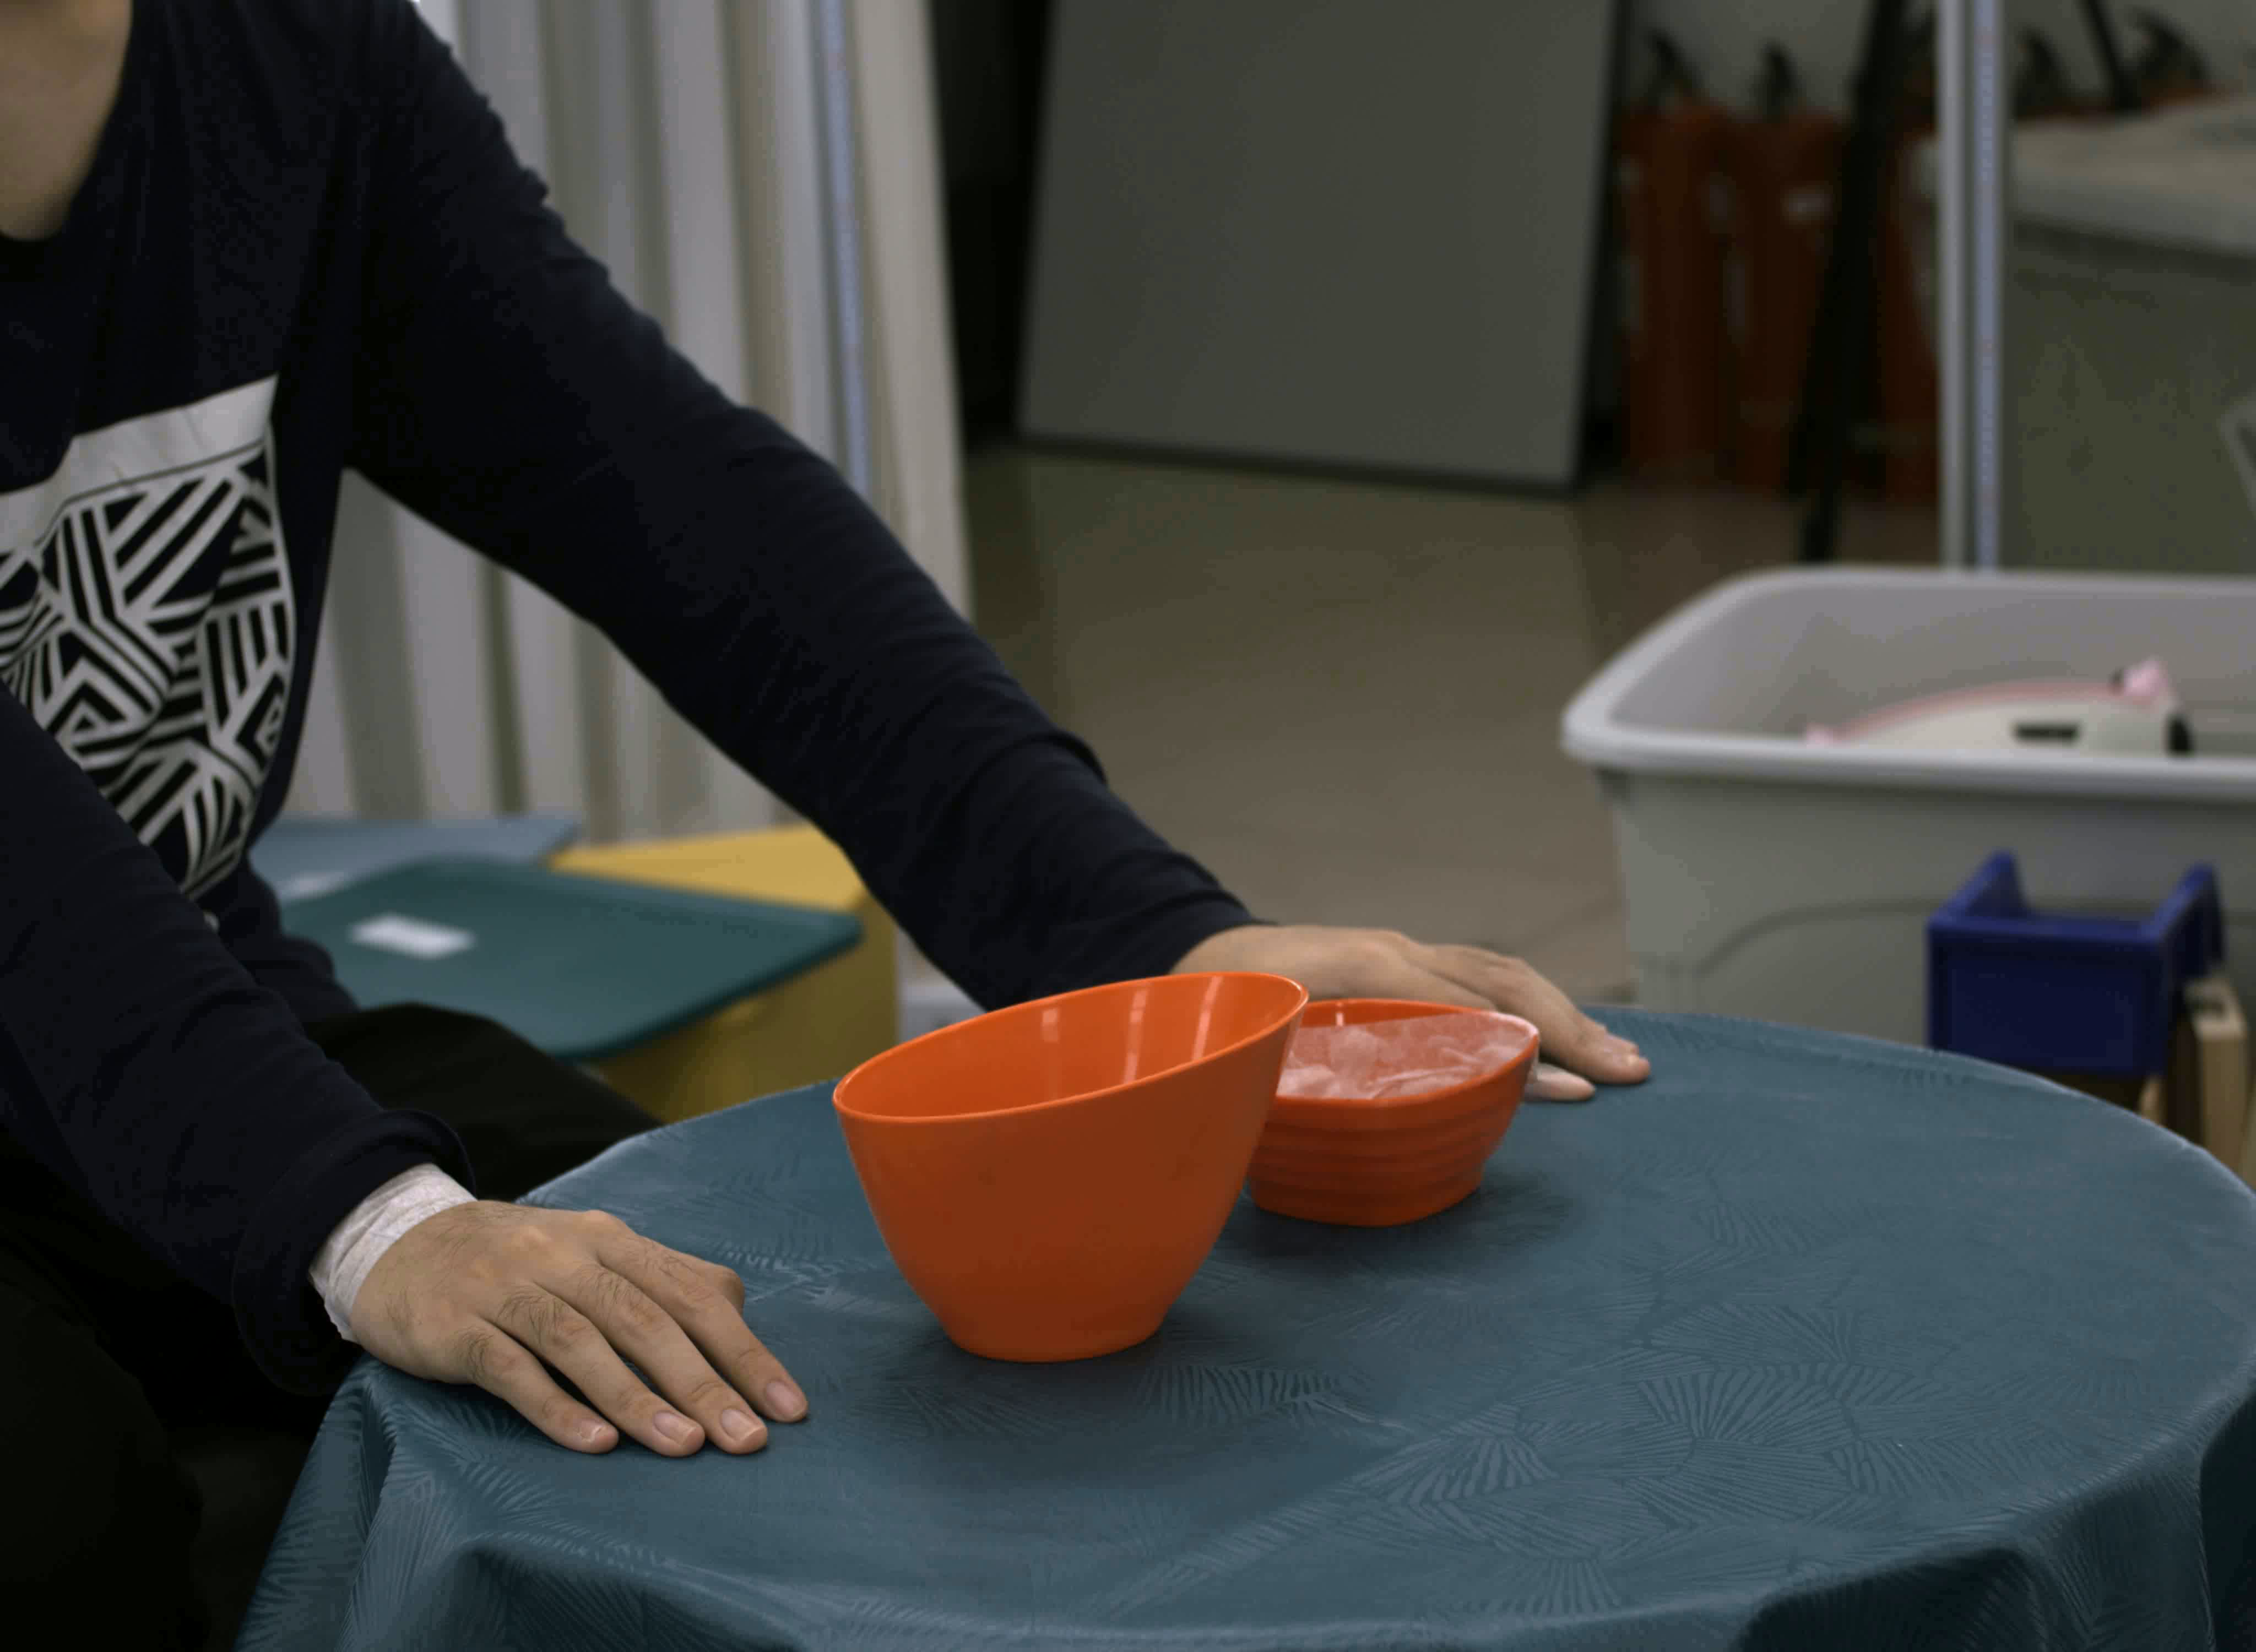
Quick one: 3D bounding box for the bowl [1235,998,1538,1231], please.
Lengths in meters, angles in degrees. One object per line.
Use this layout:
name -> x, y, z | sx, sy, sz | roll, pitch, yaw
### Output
bowl -> 0.077, 0.096, 1.750 | 0.117, 0.052, 0.119 | -5, 14, 0

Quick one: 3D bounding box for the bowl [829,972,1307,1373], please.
bowl -> -0.016, 0.106, 1.630 | 0.146, 0.106, 0.148 | -5, 14, 0
